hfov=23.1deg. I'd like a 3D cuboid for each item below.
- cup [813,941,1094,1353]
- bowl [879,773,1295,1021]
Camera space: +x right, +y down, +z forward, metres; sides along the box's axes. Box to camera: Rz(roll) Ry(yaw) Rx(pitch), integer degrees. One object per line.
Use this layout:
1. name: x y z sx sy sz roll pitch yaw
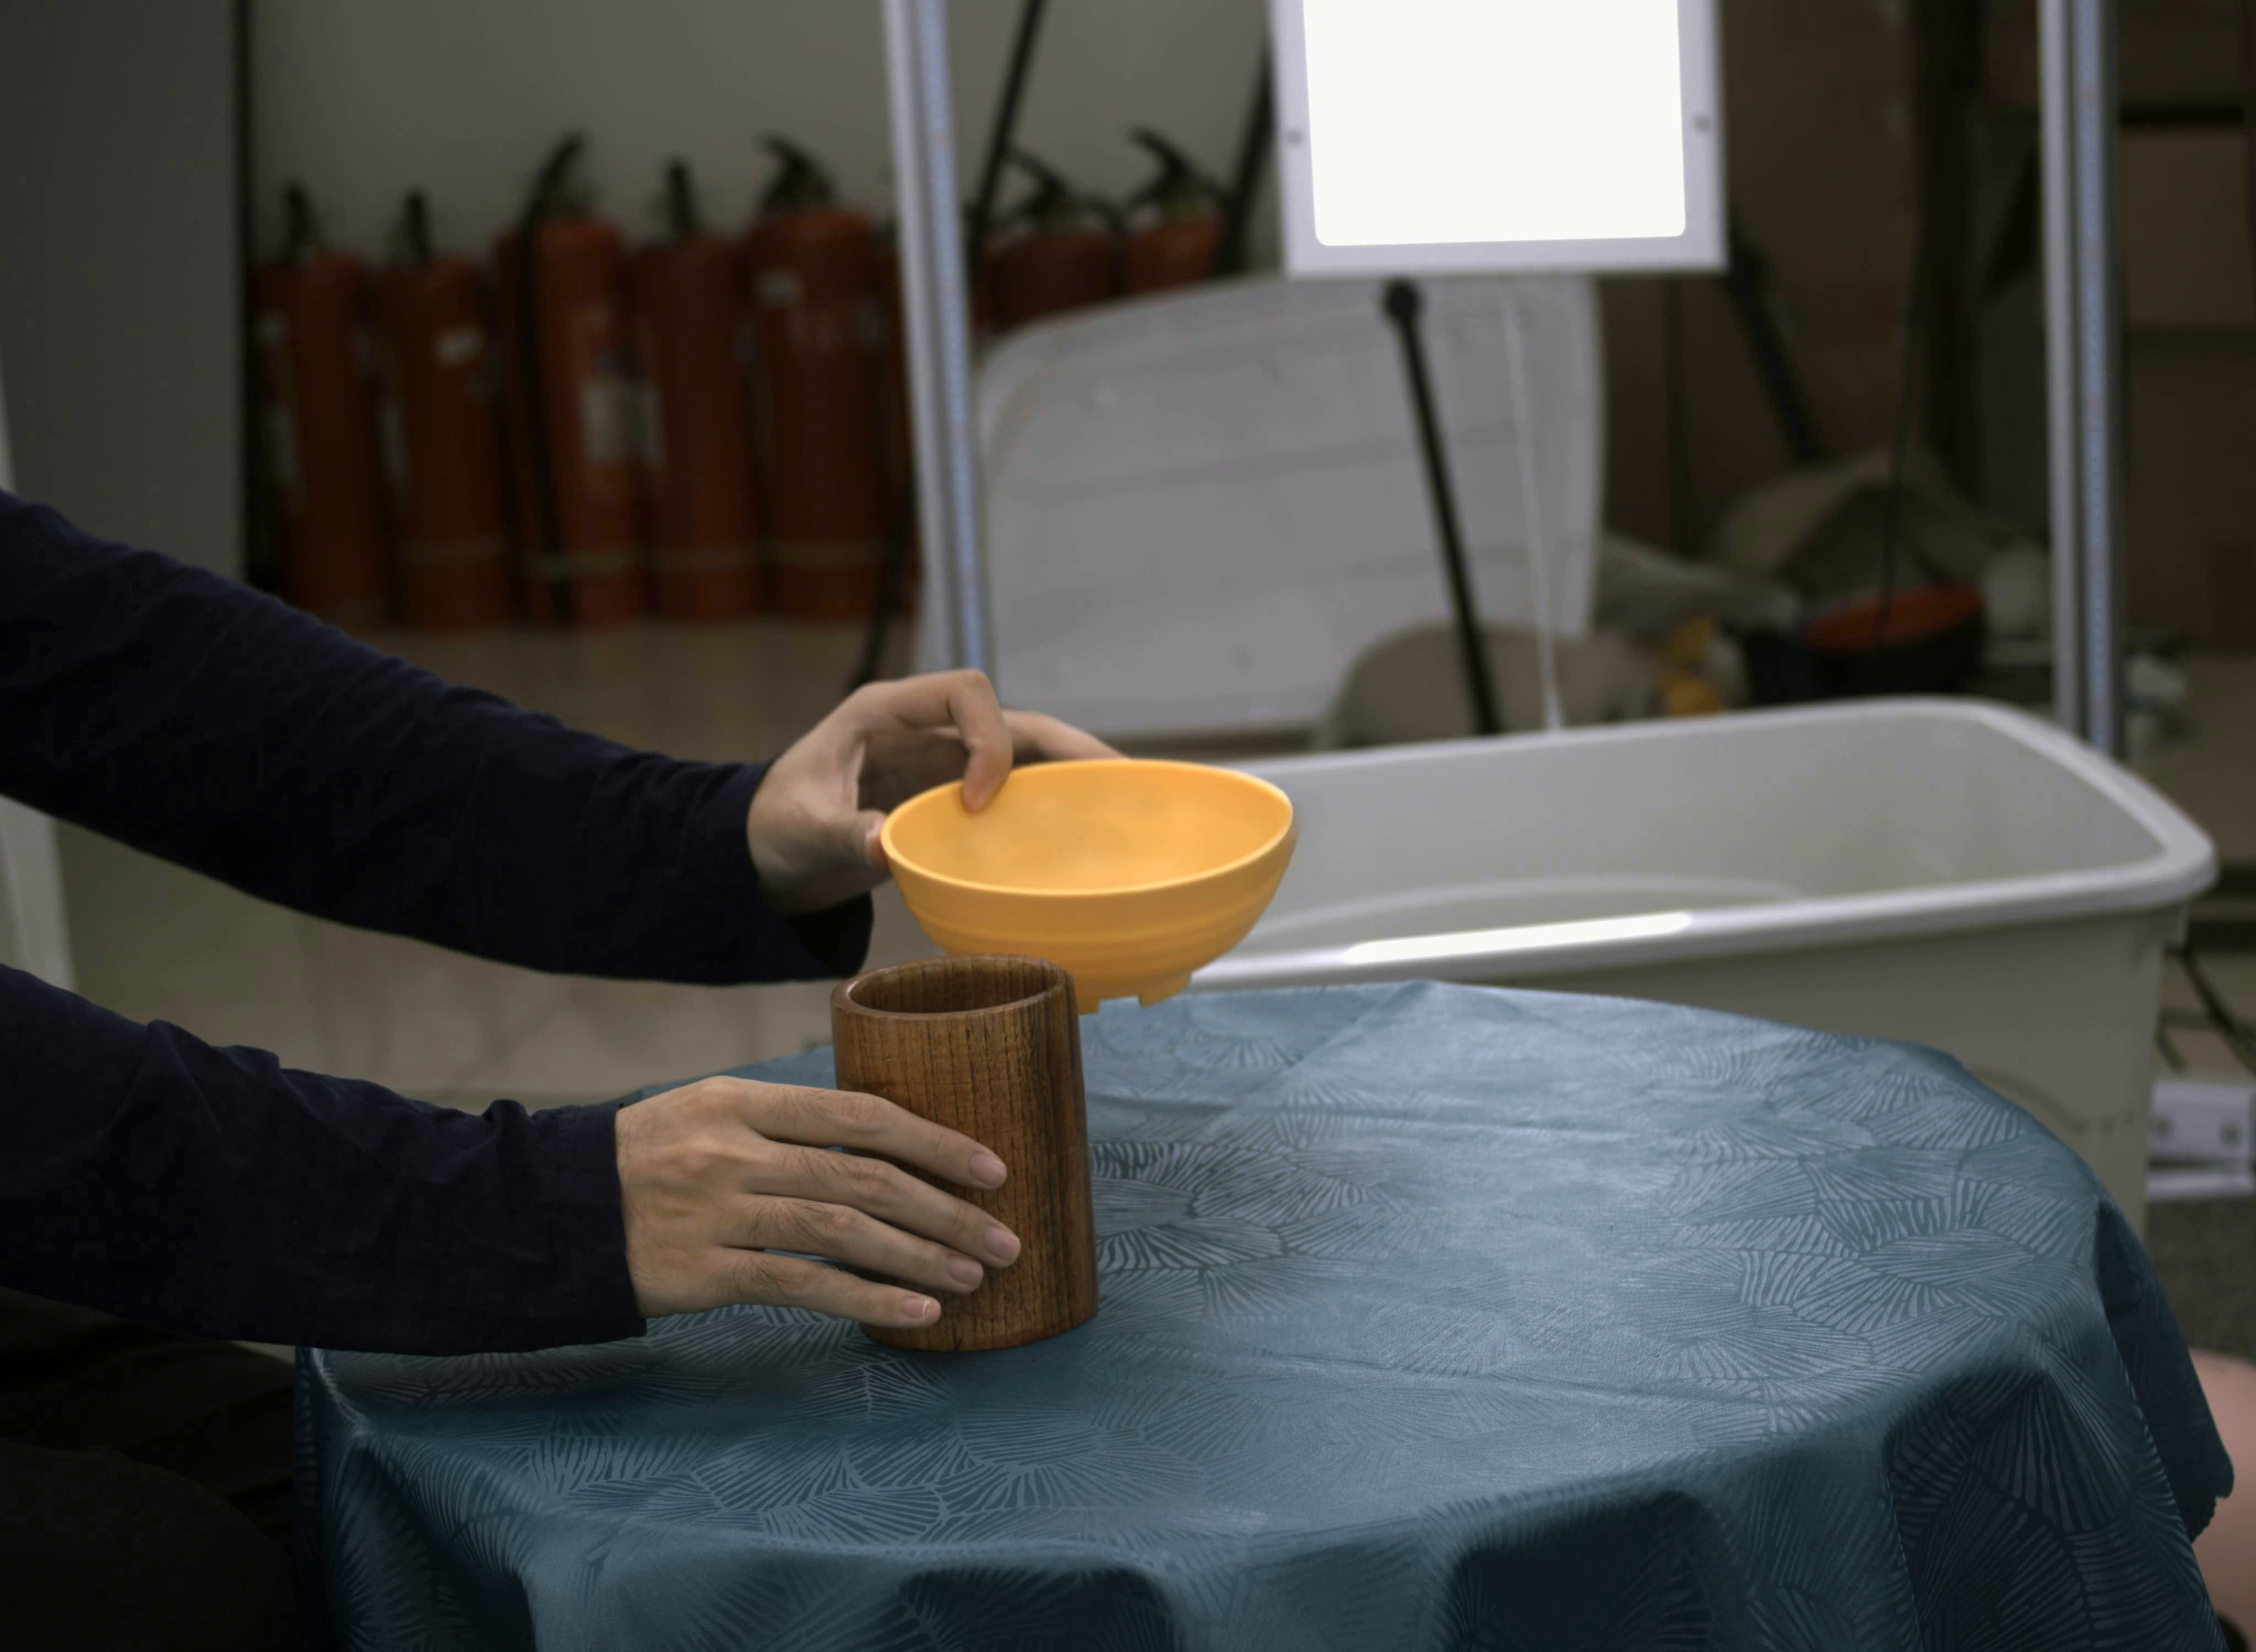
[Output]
1. cup: -0.054 0.102 1.770 0.087 0.119 0.087 -4 10 -1
2. bowl: -0.012 0.029 1.893 0.145 0.060 0.145 -5 17 0
